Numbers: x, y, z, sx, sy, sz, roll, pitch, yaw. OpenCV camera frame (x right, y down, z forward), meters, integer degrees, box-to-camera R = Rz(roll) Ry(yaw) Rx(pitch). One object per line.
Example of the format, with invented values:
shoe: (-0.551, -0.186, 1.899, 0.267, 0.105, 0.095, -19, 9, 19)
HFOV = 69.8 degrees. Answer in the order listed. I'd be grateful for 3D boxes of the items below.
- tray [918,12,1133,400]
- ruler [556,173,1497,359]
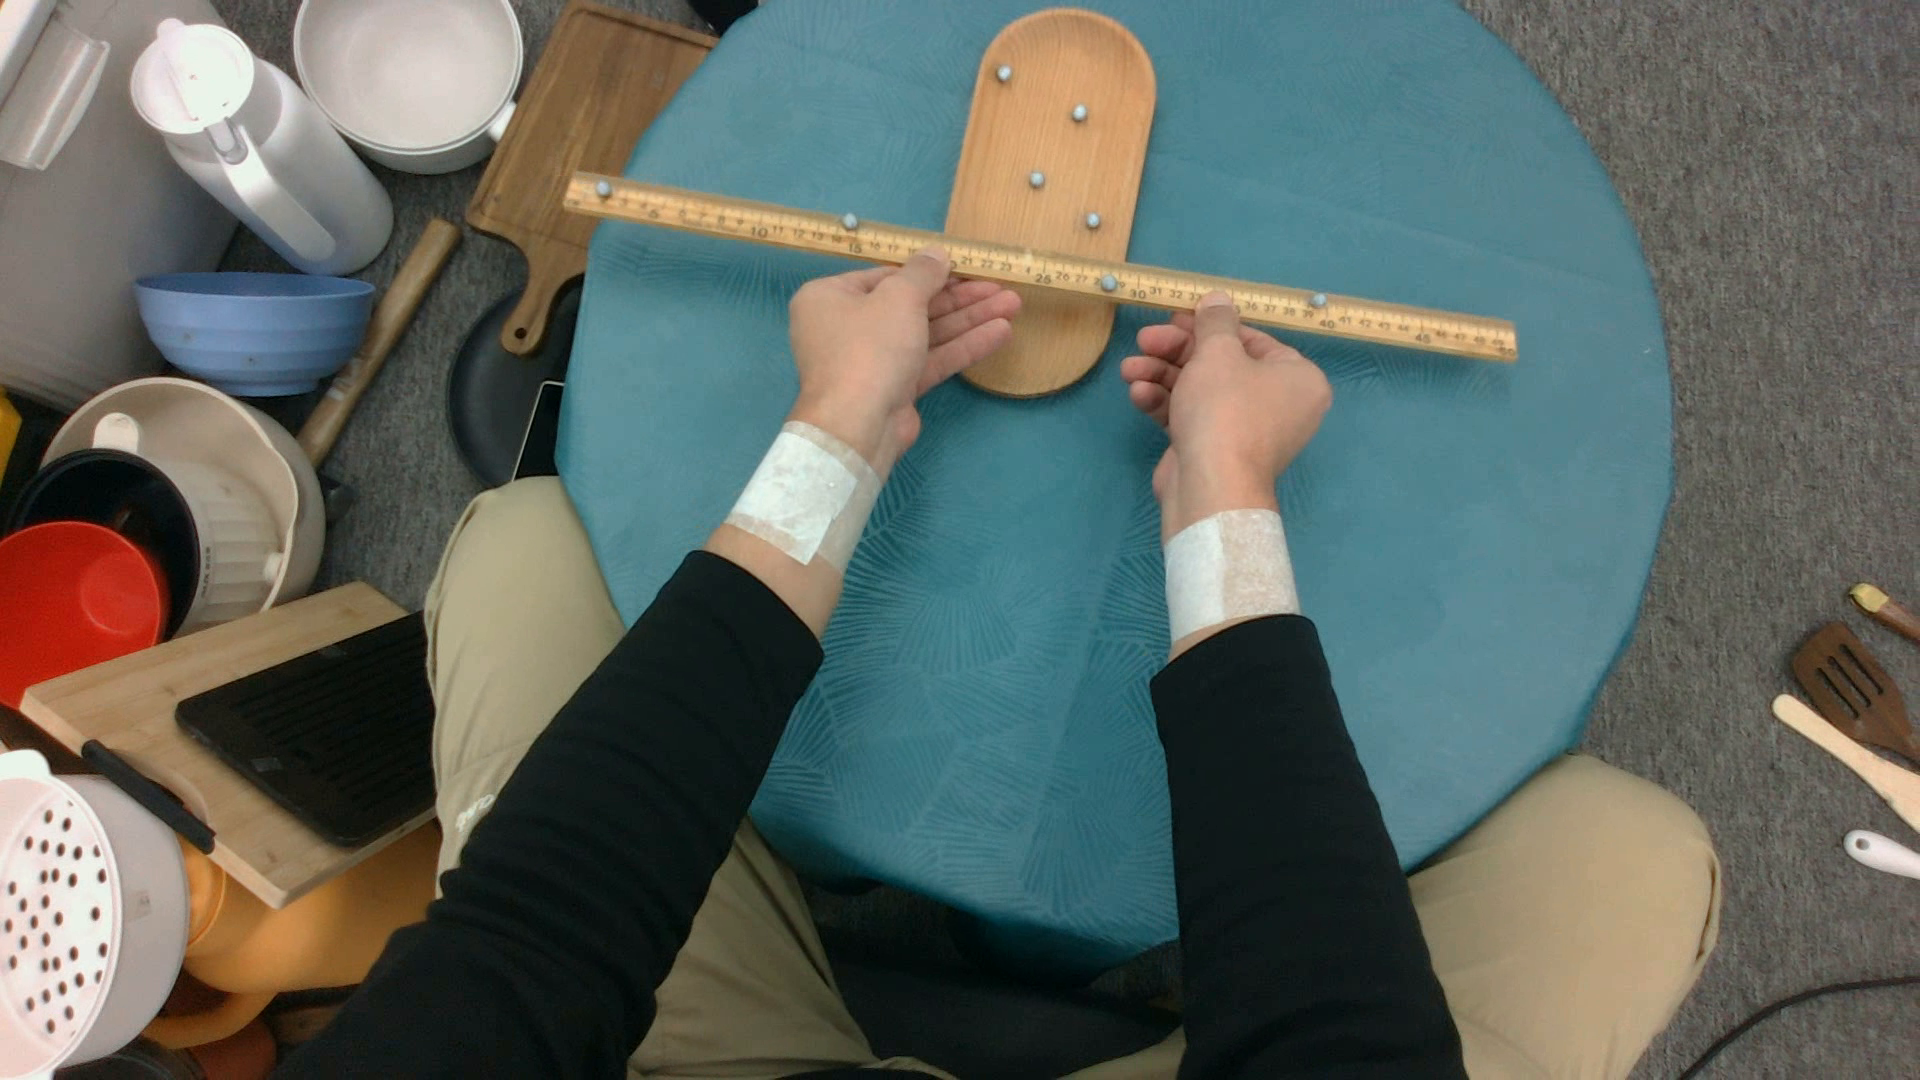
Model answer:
tray: (0.037, -0.187, 0.764, 0.101, 0.020, 0.231, 8, 78, 2)
ruler: (0.037, -0.144, 0.725, 0.500, 0.006, 0.027, 9, 60, -1)
